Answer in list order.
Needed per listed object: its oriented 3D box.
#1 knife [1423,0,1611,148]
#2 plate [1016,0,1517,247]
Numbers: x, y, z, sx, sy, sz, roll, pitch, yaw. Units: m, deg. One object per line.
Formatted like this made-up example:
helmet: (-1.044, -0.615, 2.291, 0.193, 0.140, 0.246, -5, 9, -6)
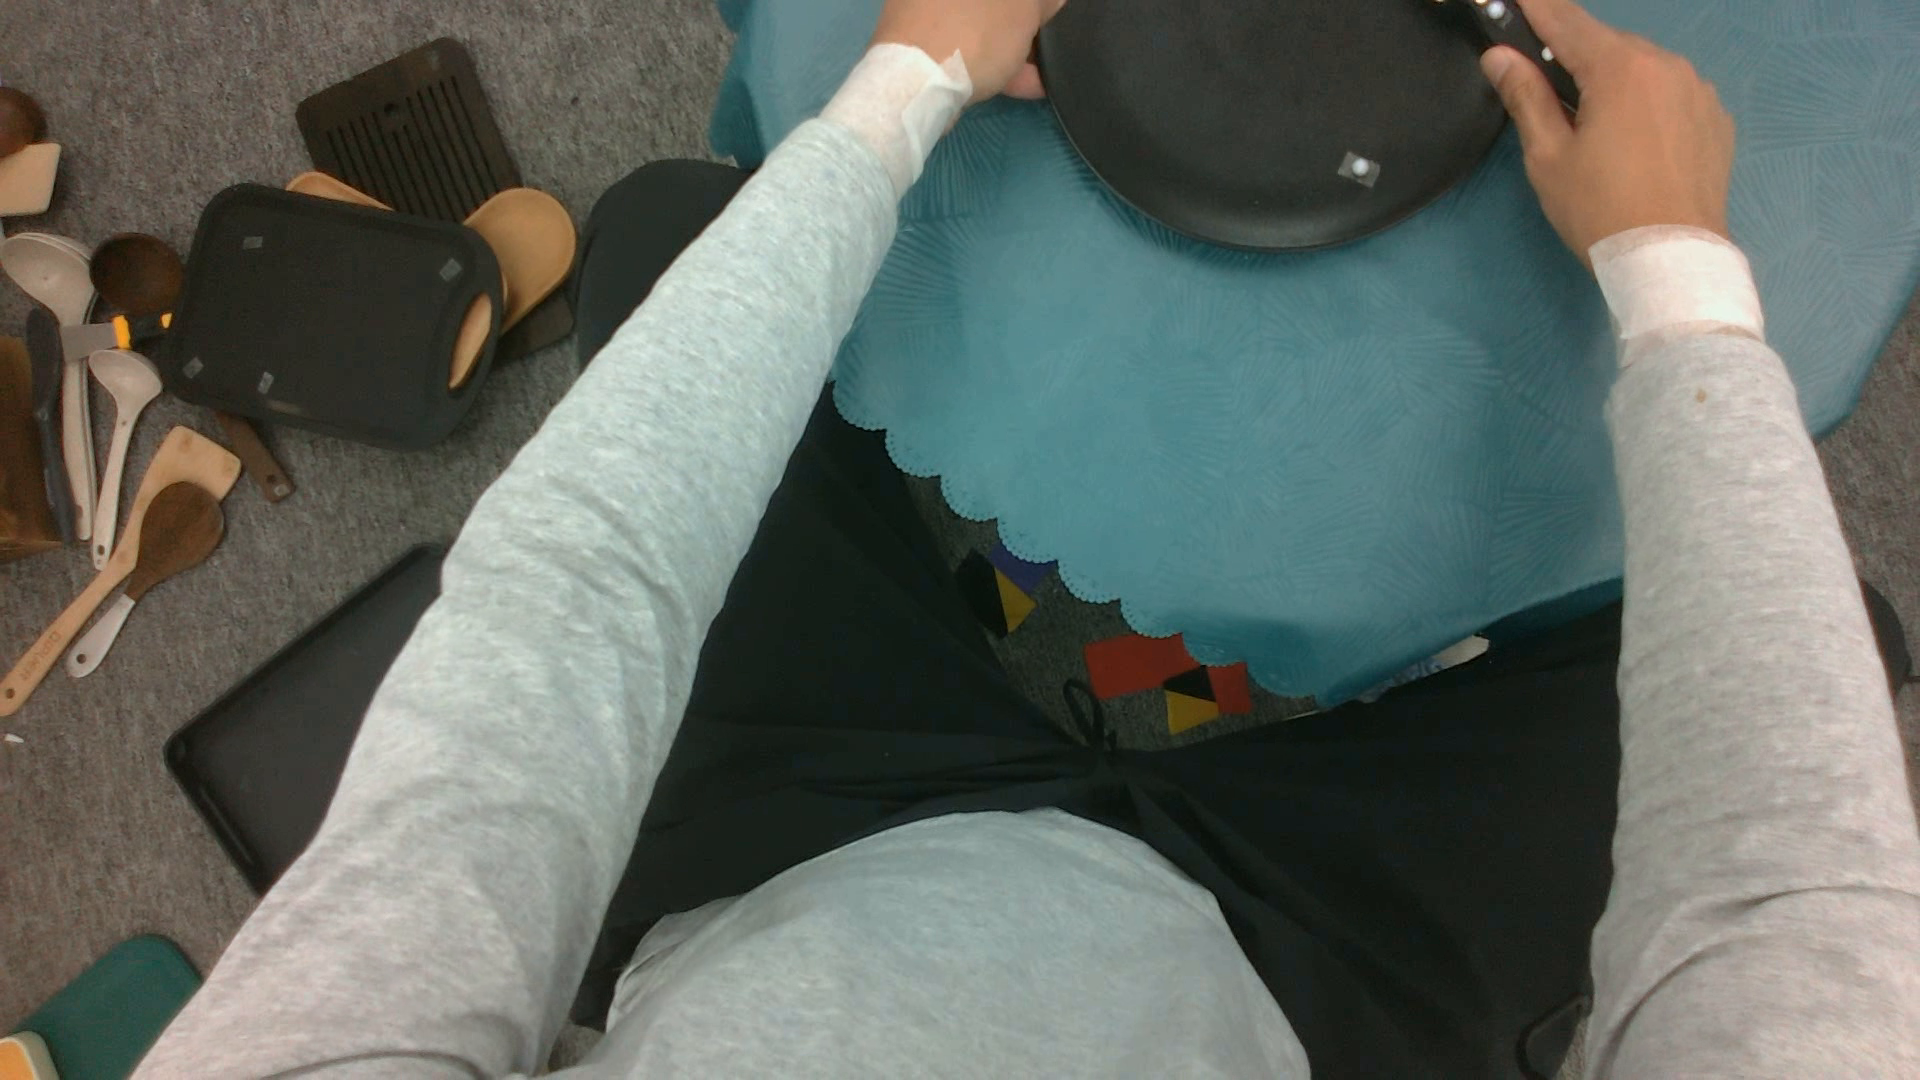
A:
knife: (0.225, -0.276, 0.664, 0.024, 0.016, 0.238, -46, 76, 20)
plate: (0.150, -0.264, 0.684, 0.244, 0.023, 0.244, 0, 86, 3)
